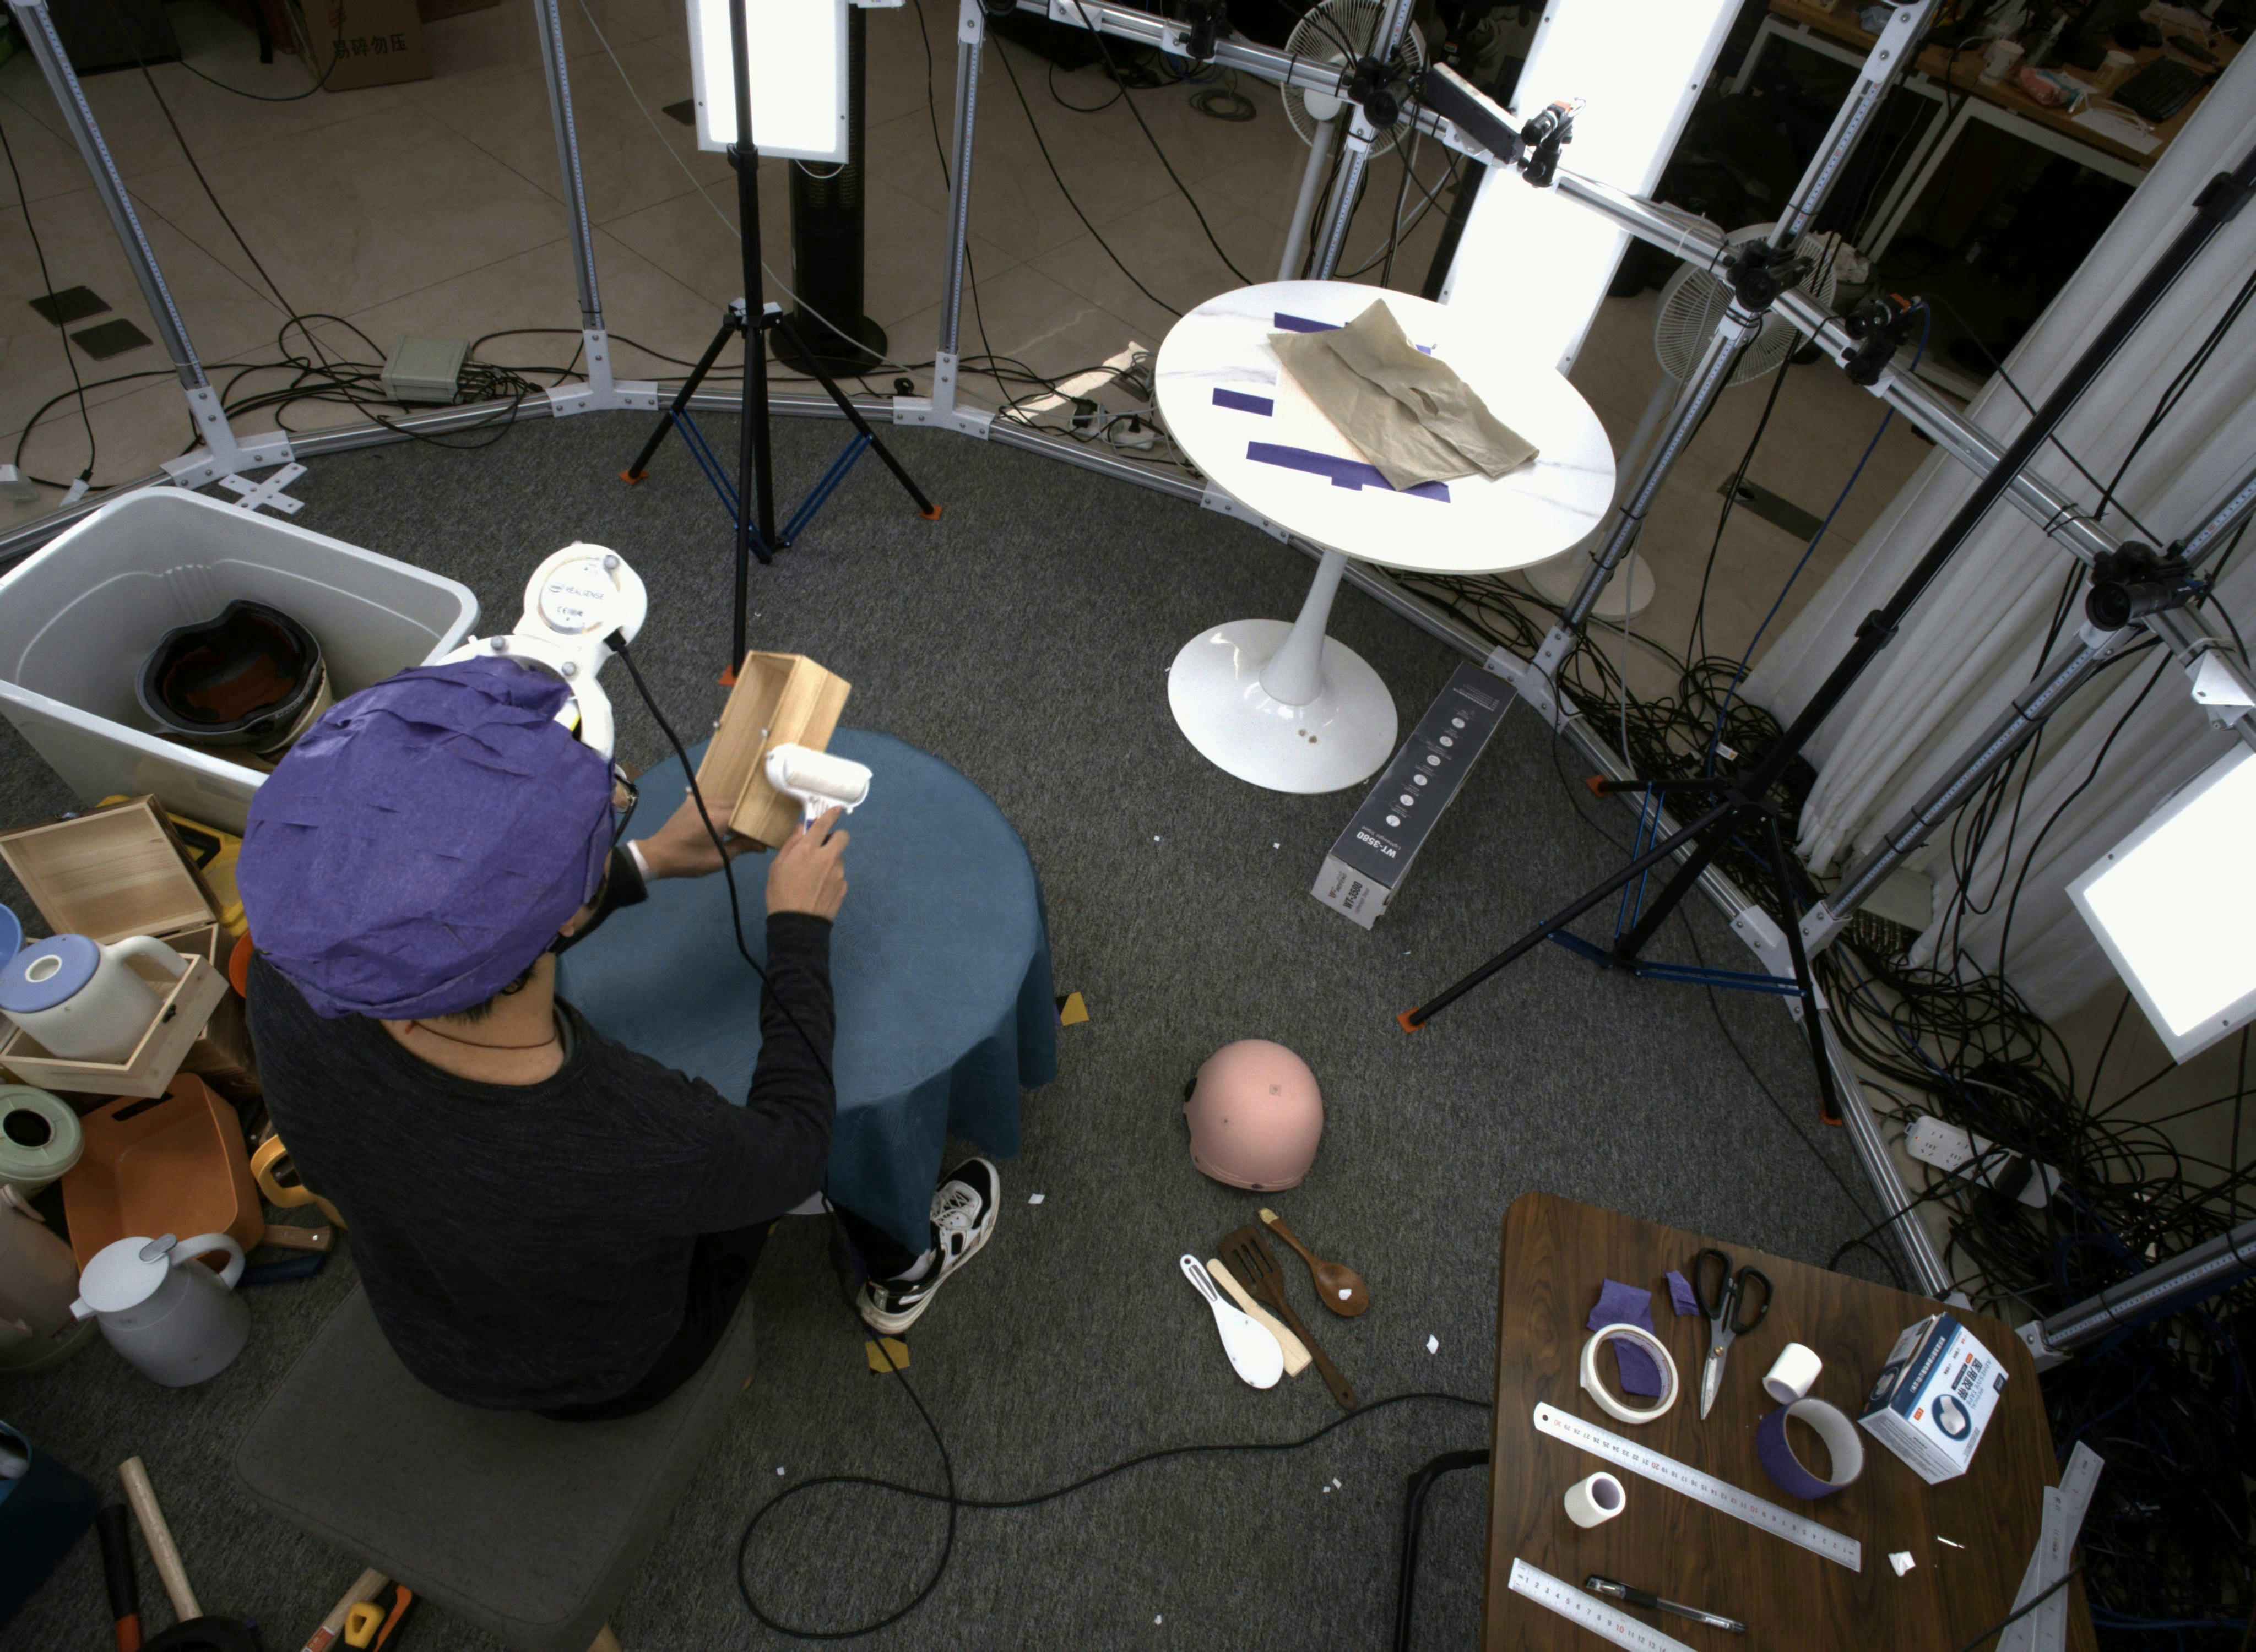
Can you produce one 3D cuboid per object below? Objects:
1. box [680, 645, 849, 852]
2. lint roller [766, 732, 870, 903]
[{"bbox_3d":[-0.416,-0.091,1.483,0.103,0.083,0.212,11,77,38],"label":"box"},{"bbox_3d":[-0.342,-0.009,1.440,0.137,0.049,0.179,20,59,-52],"label":"lint roller"}]
